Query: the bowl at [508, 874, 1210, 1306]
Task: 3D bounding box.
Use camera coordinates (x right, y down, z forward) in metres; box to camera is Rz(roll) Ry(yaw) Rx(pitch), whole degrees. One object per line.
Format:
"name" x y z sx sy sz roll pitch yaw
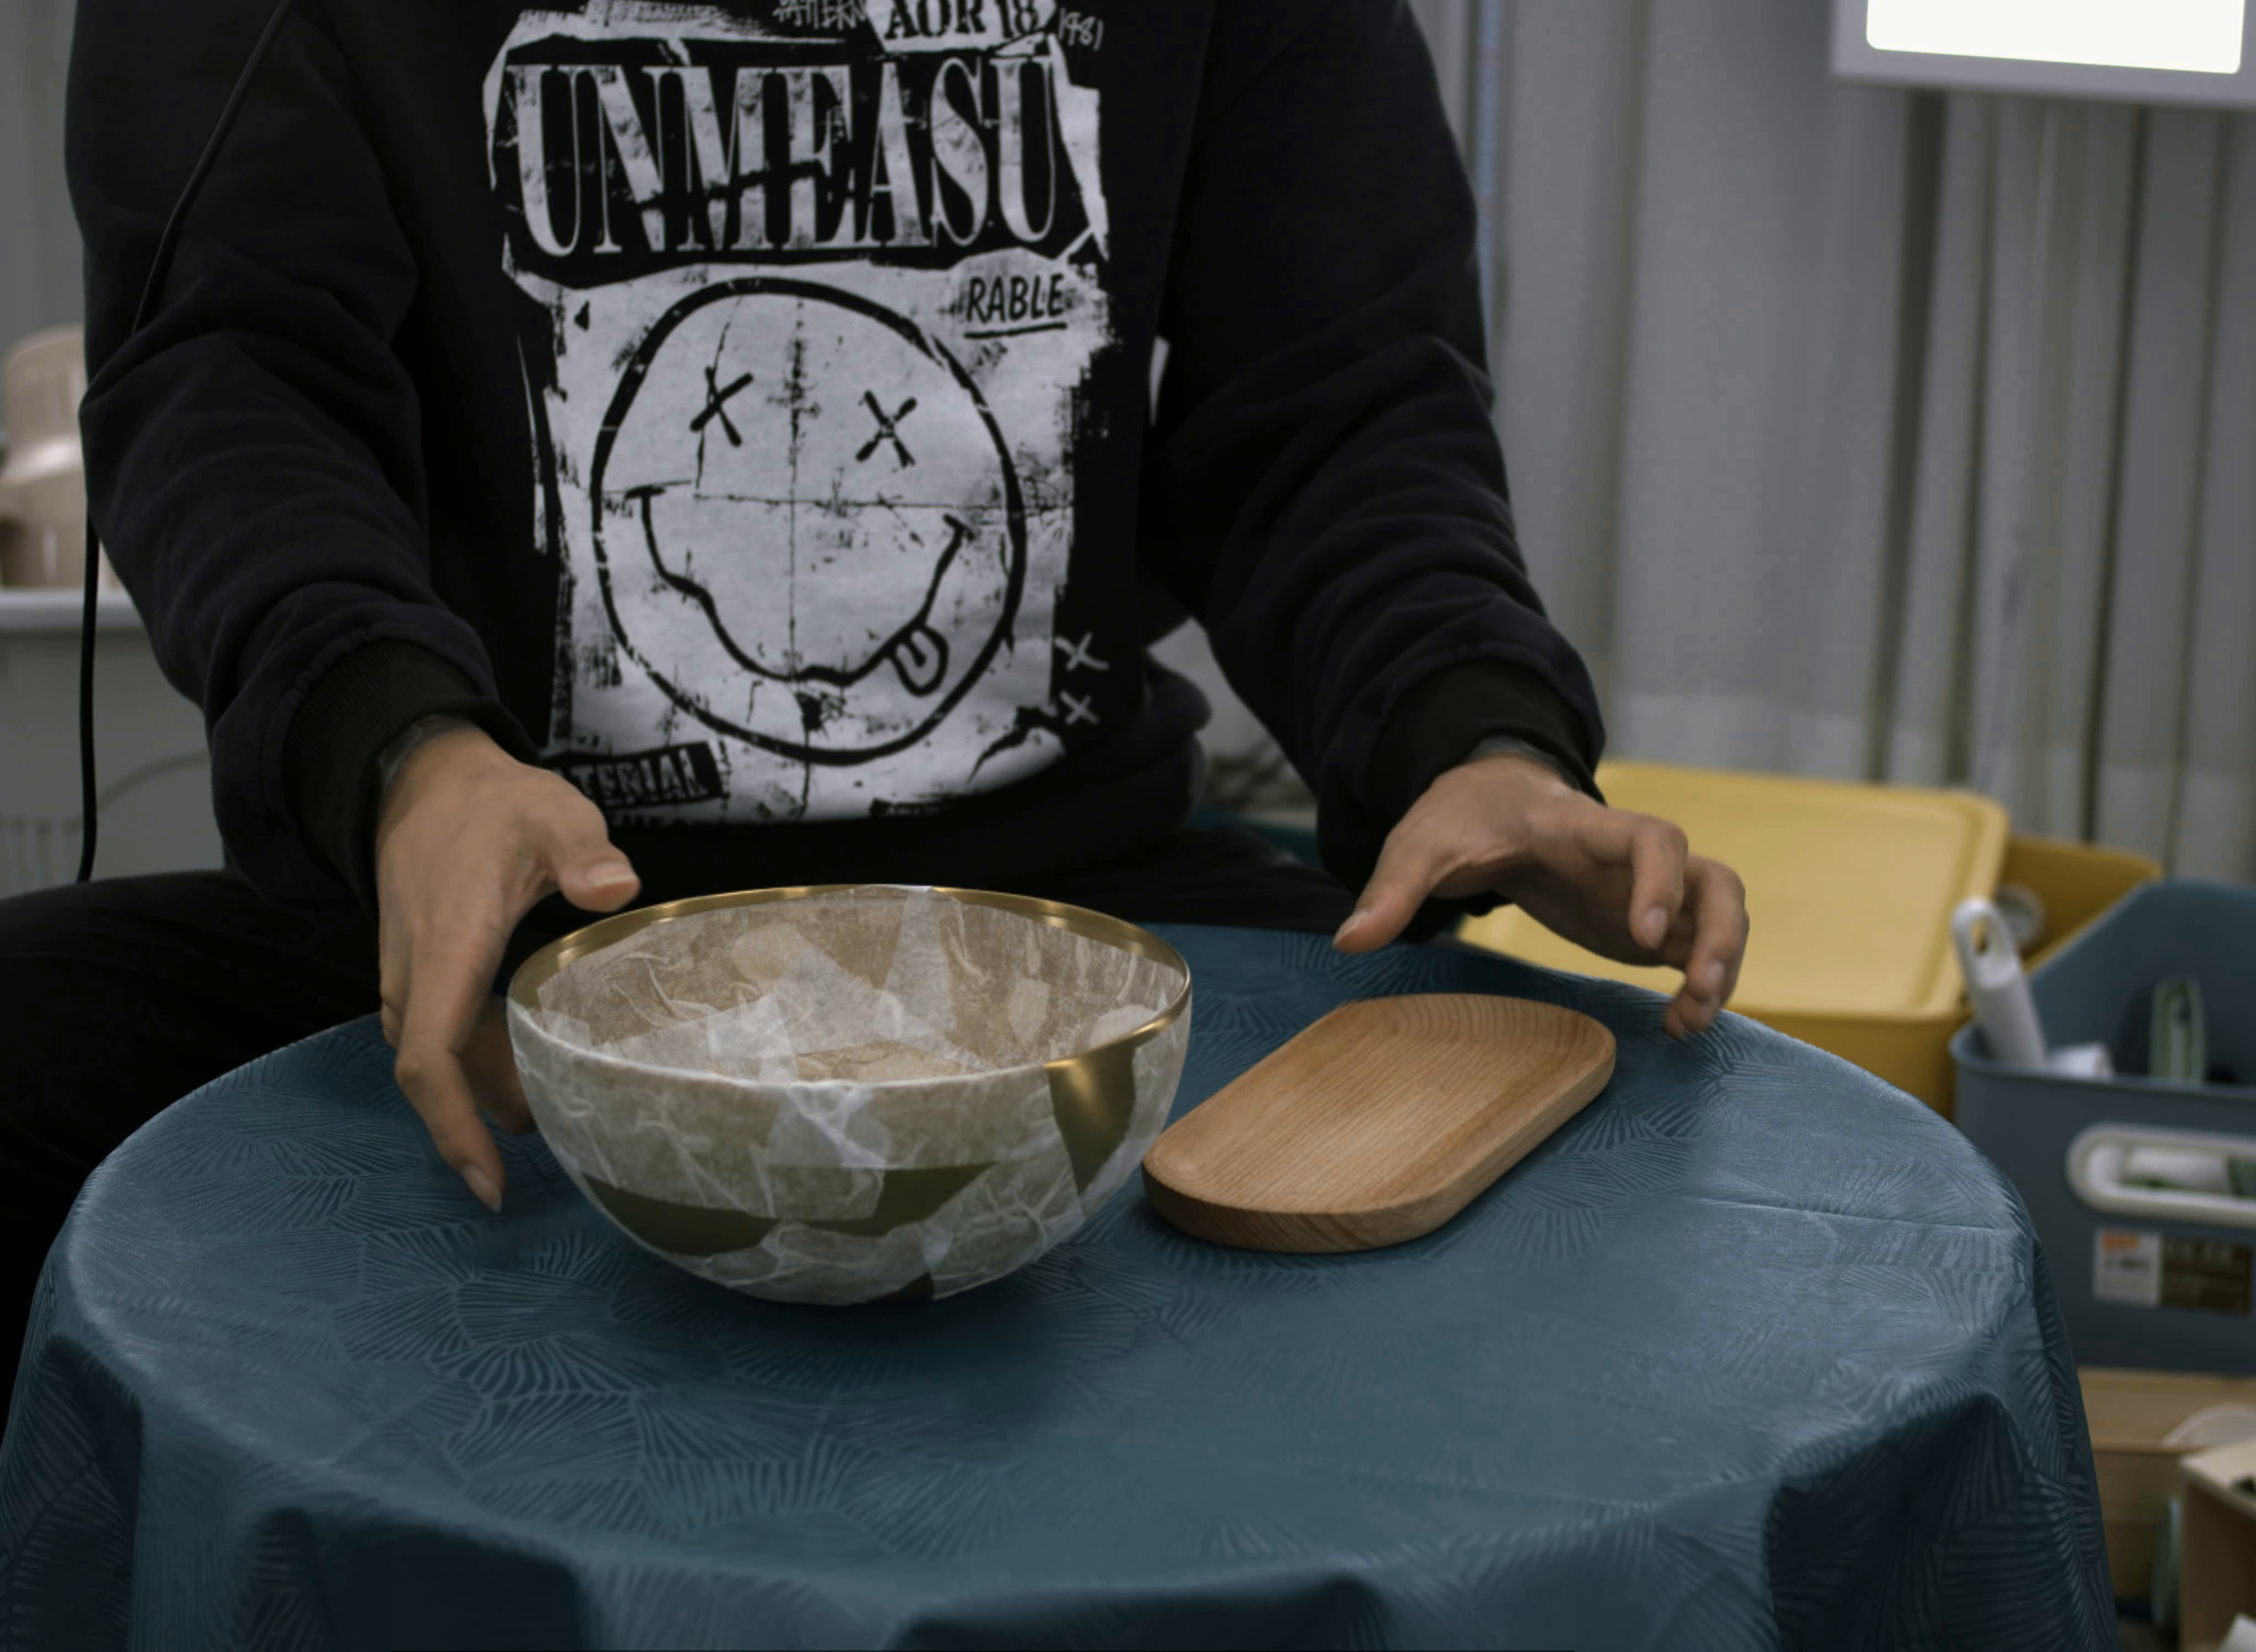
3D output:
"bowl" -0.077 0.085 1.548 0.214 0.095 0.213 0 16 1

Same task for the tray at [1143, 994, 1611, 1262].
"tray" 0.082 0.094 1.669 0.100 0.020 0.231 5 18 23
